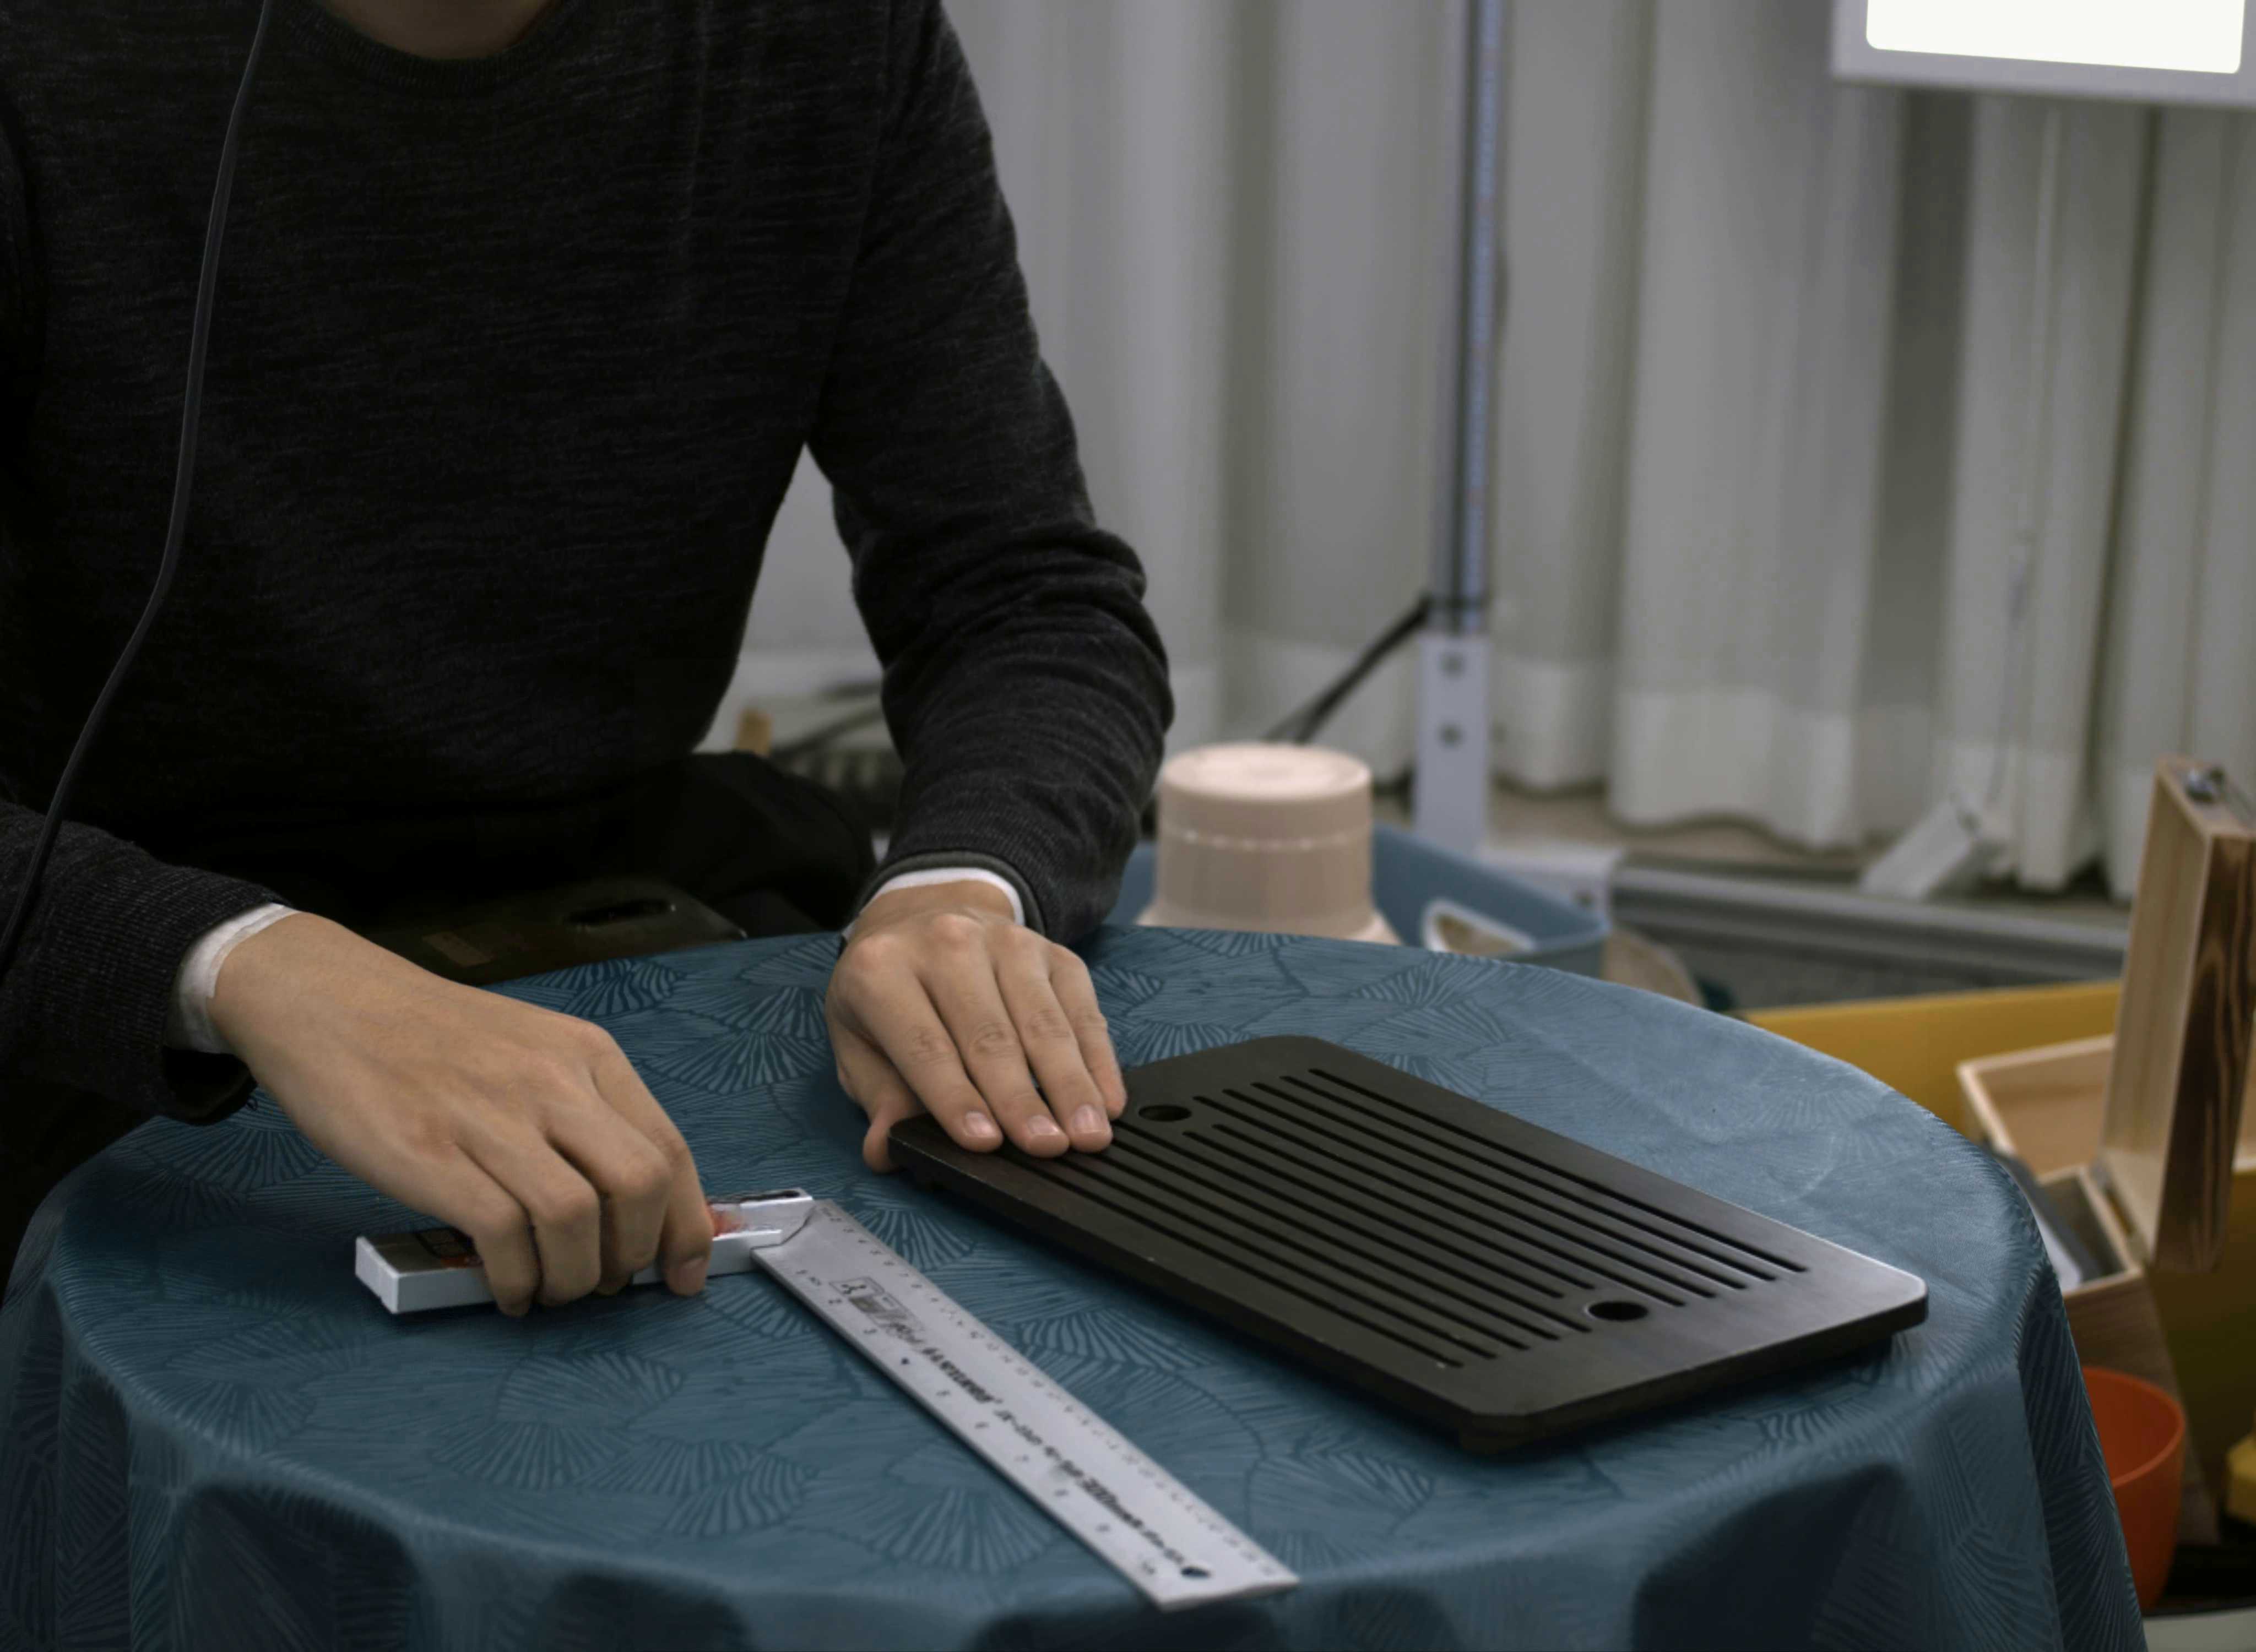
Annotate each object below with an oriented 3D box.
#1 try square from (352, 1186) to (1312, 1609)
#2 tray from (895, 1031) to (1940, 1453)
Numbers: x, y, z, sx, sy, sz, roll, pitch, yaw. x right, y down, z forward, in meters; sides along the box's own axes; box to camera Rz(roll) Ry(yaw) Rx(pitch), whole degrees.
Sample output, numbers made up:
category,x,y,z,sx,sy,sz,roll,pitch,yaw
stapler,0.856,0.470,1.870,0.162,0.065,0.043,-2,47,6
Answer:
category,x,y,z,sx,sy,sz,roll,pitch,yaw
try square,-0.090,0.159,1.431,0.153,0.016,0.309,-6,18,-26
tray,0.079,0.119,1.564,0.171,0.019,0.302,-11,19,-35
